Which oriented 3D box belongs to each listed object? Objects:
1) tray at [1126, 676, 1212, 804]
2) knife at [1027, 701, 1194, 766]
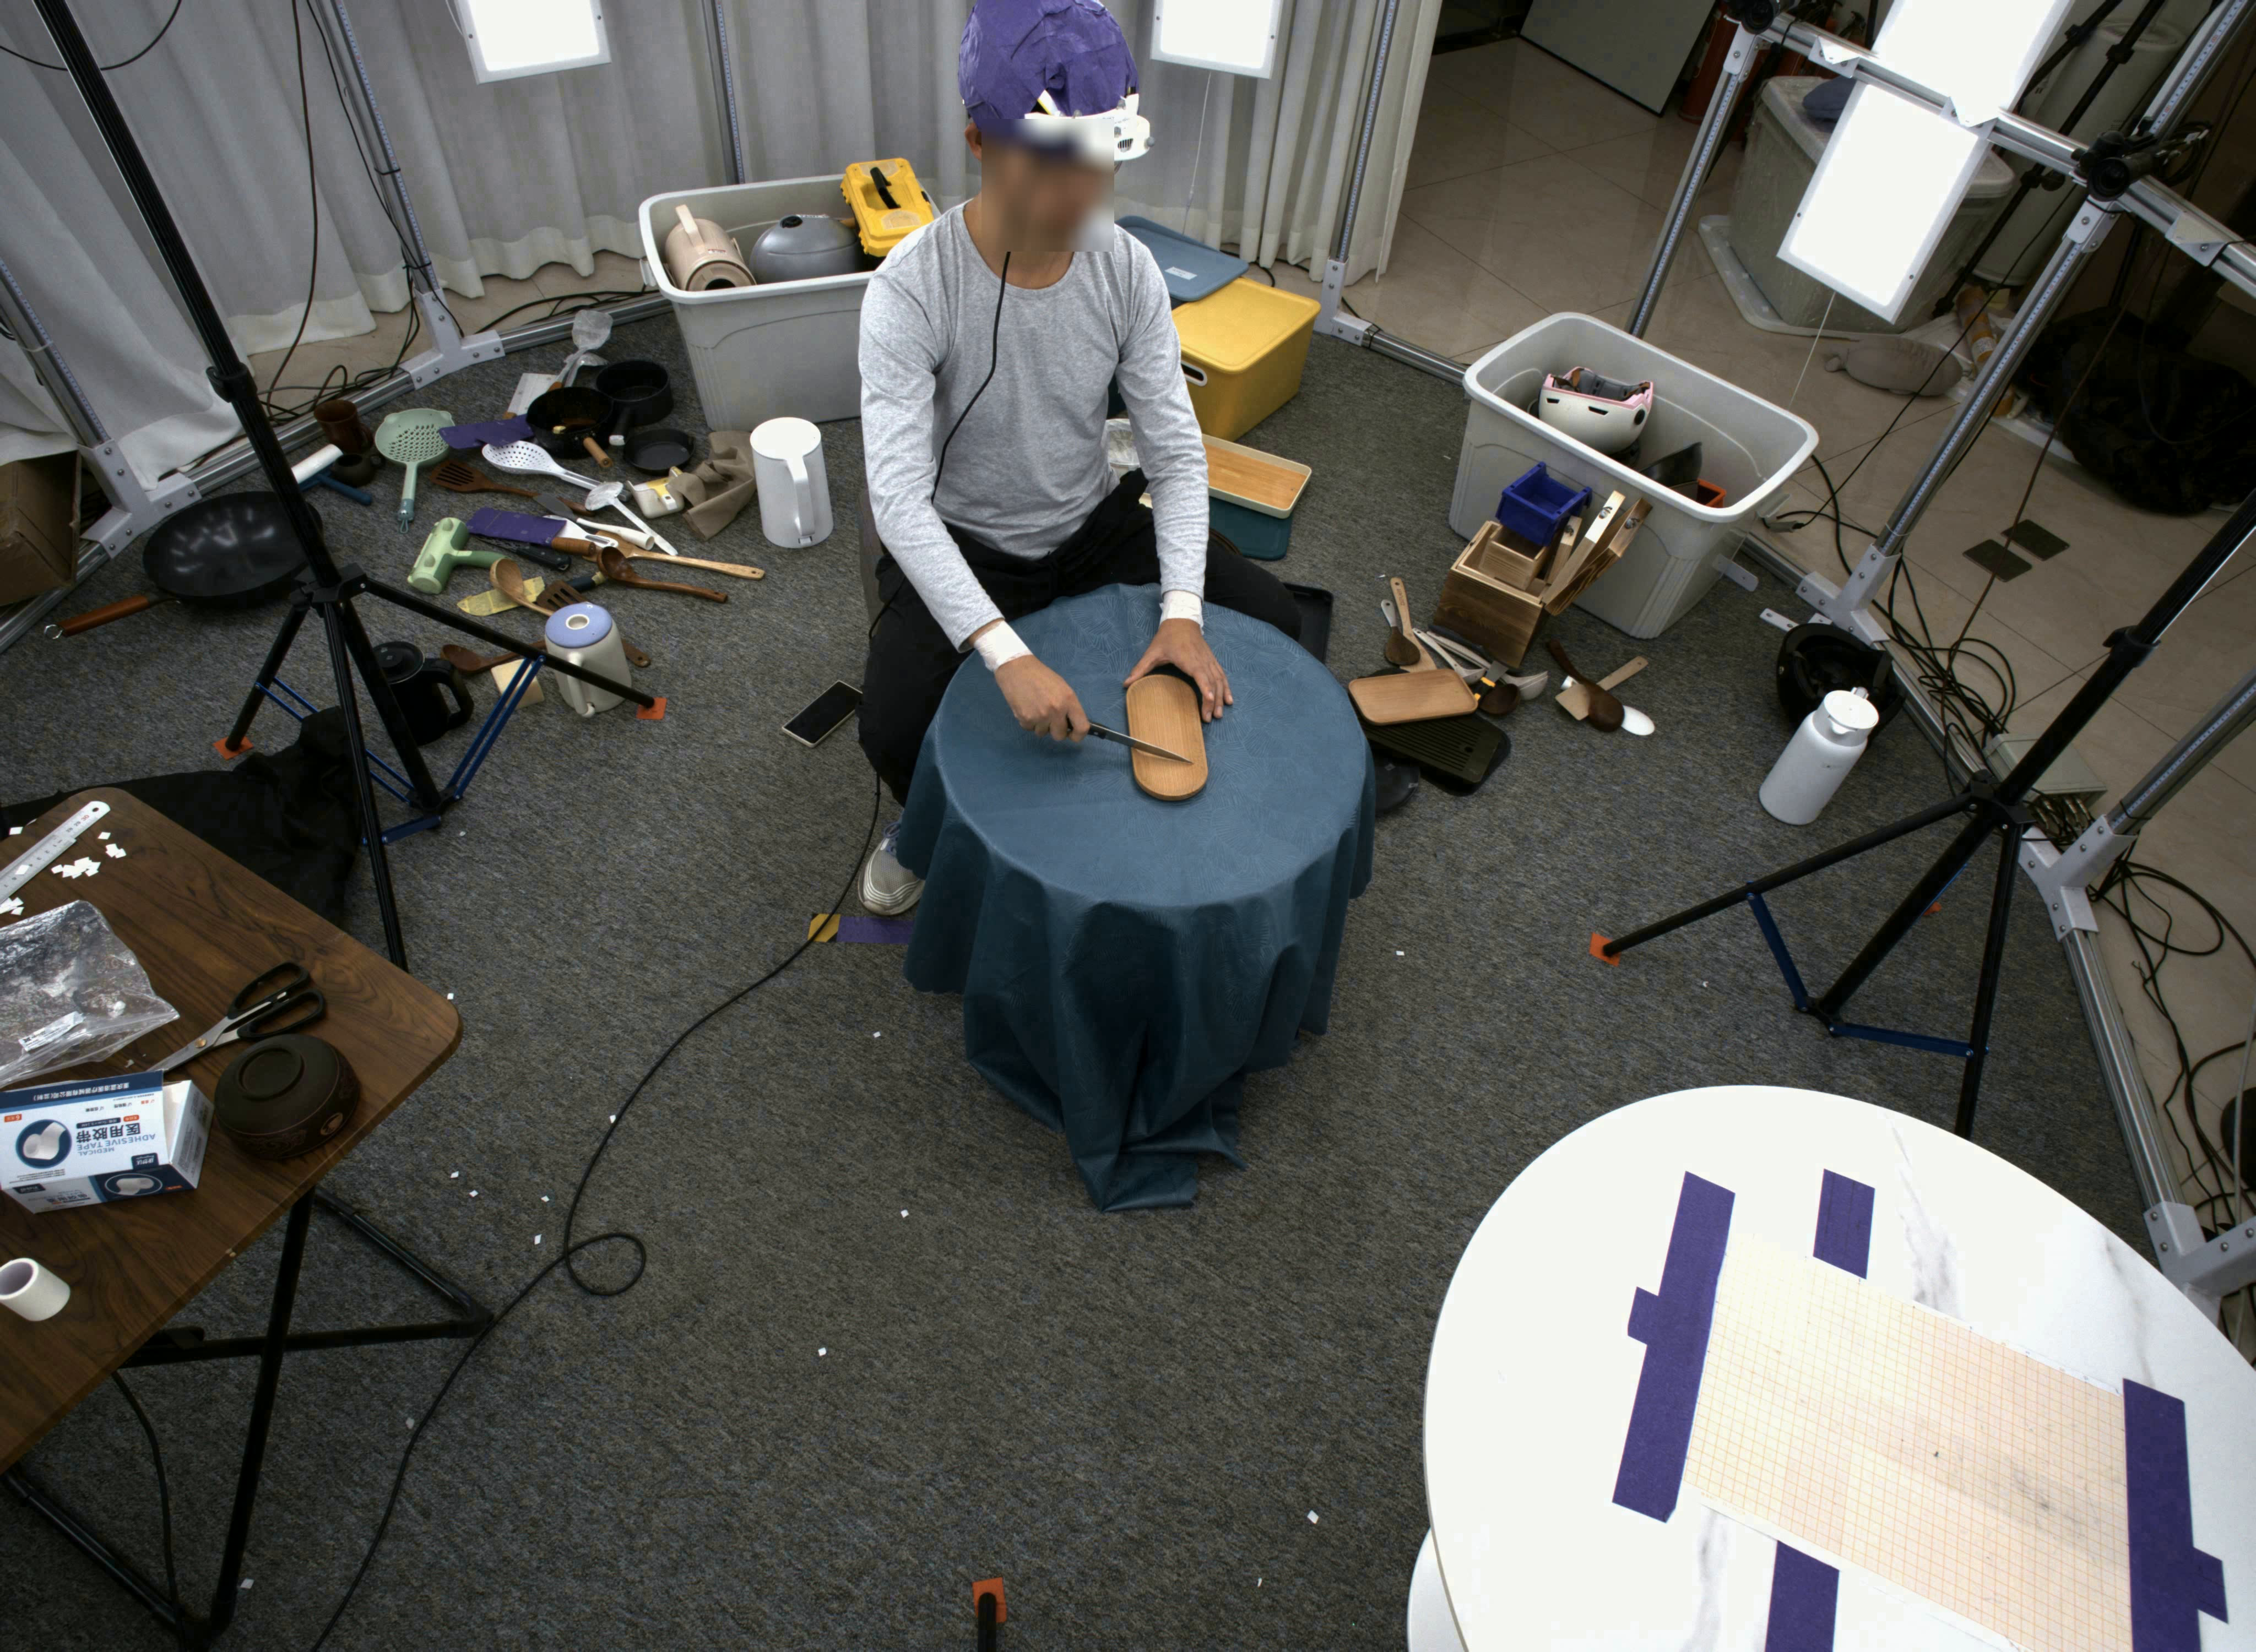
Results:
[{"bbox_3d":[0.055,-0.121,1.767,0.101,0.020,0.237,-4,51,-5],"label":"tray"},{"bbox_3d":[-0.021,-0.123,1.725,0.237,0.024,0.016,19,55,-6],"label":"knife"}]
